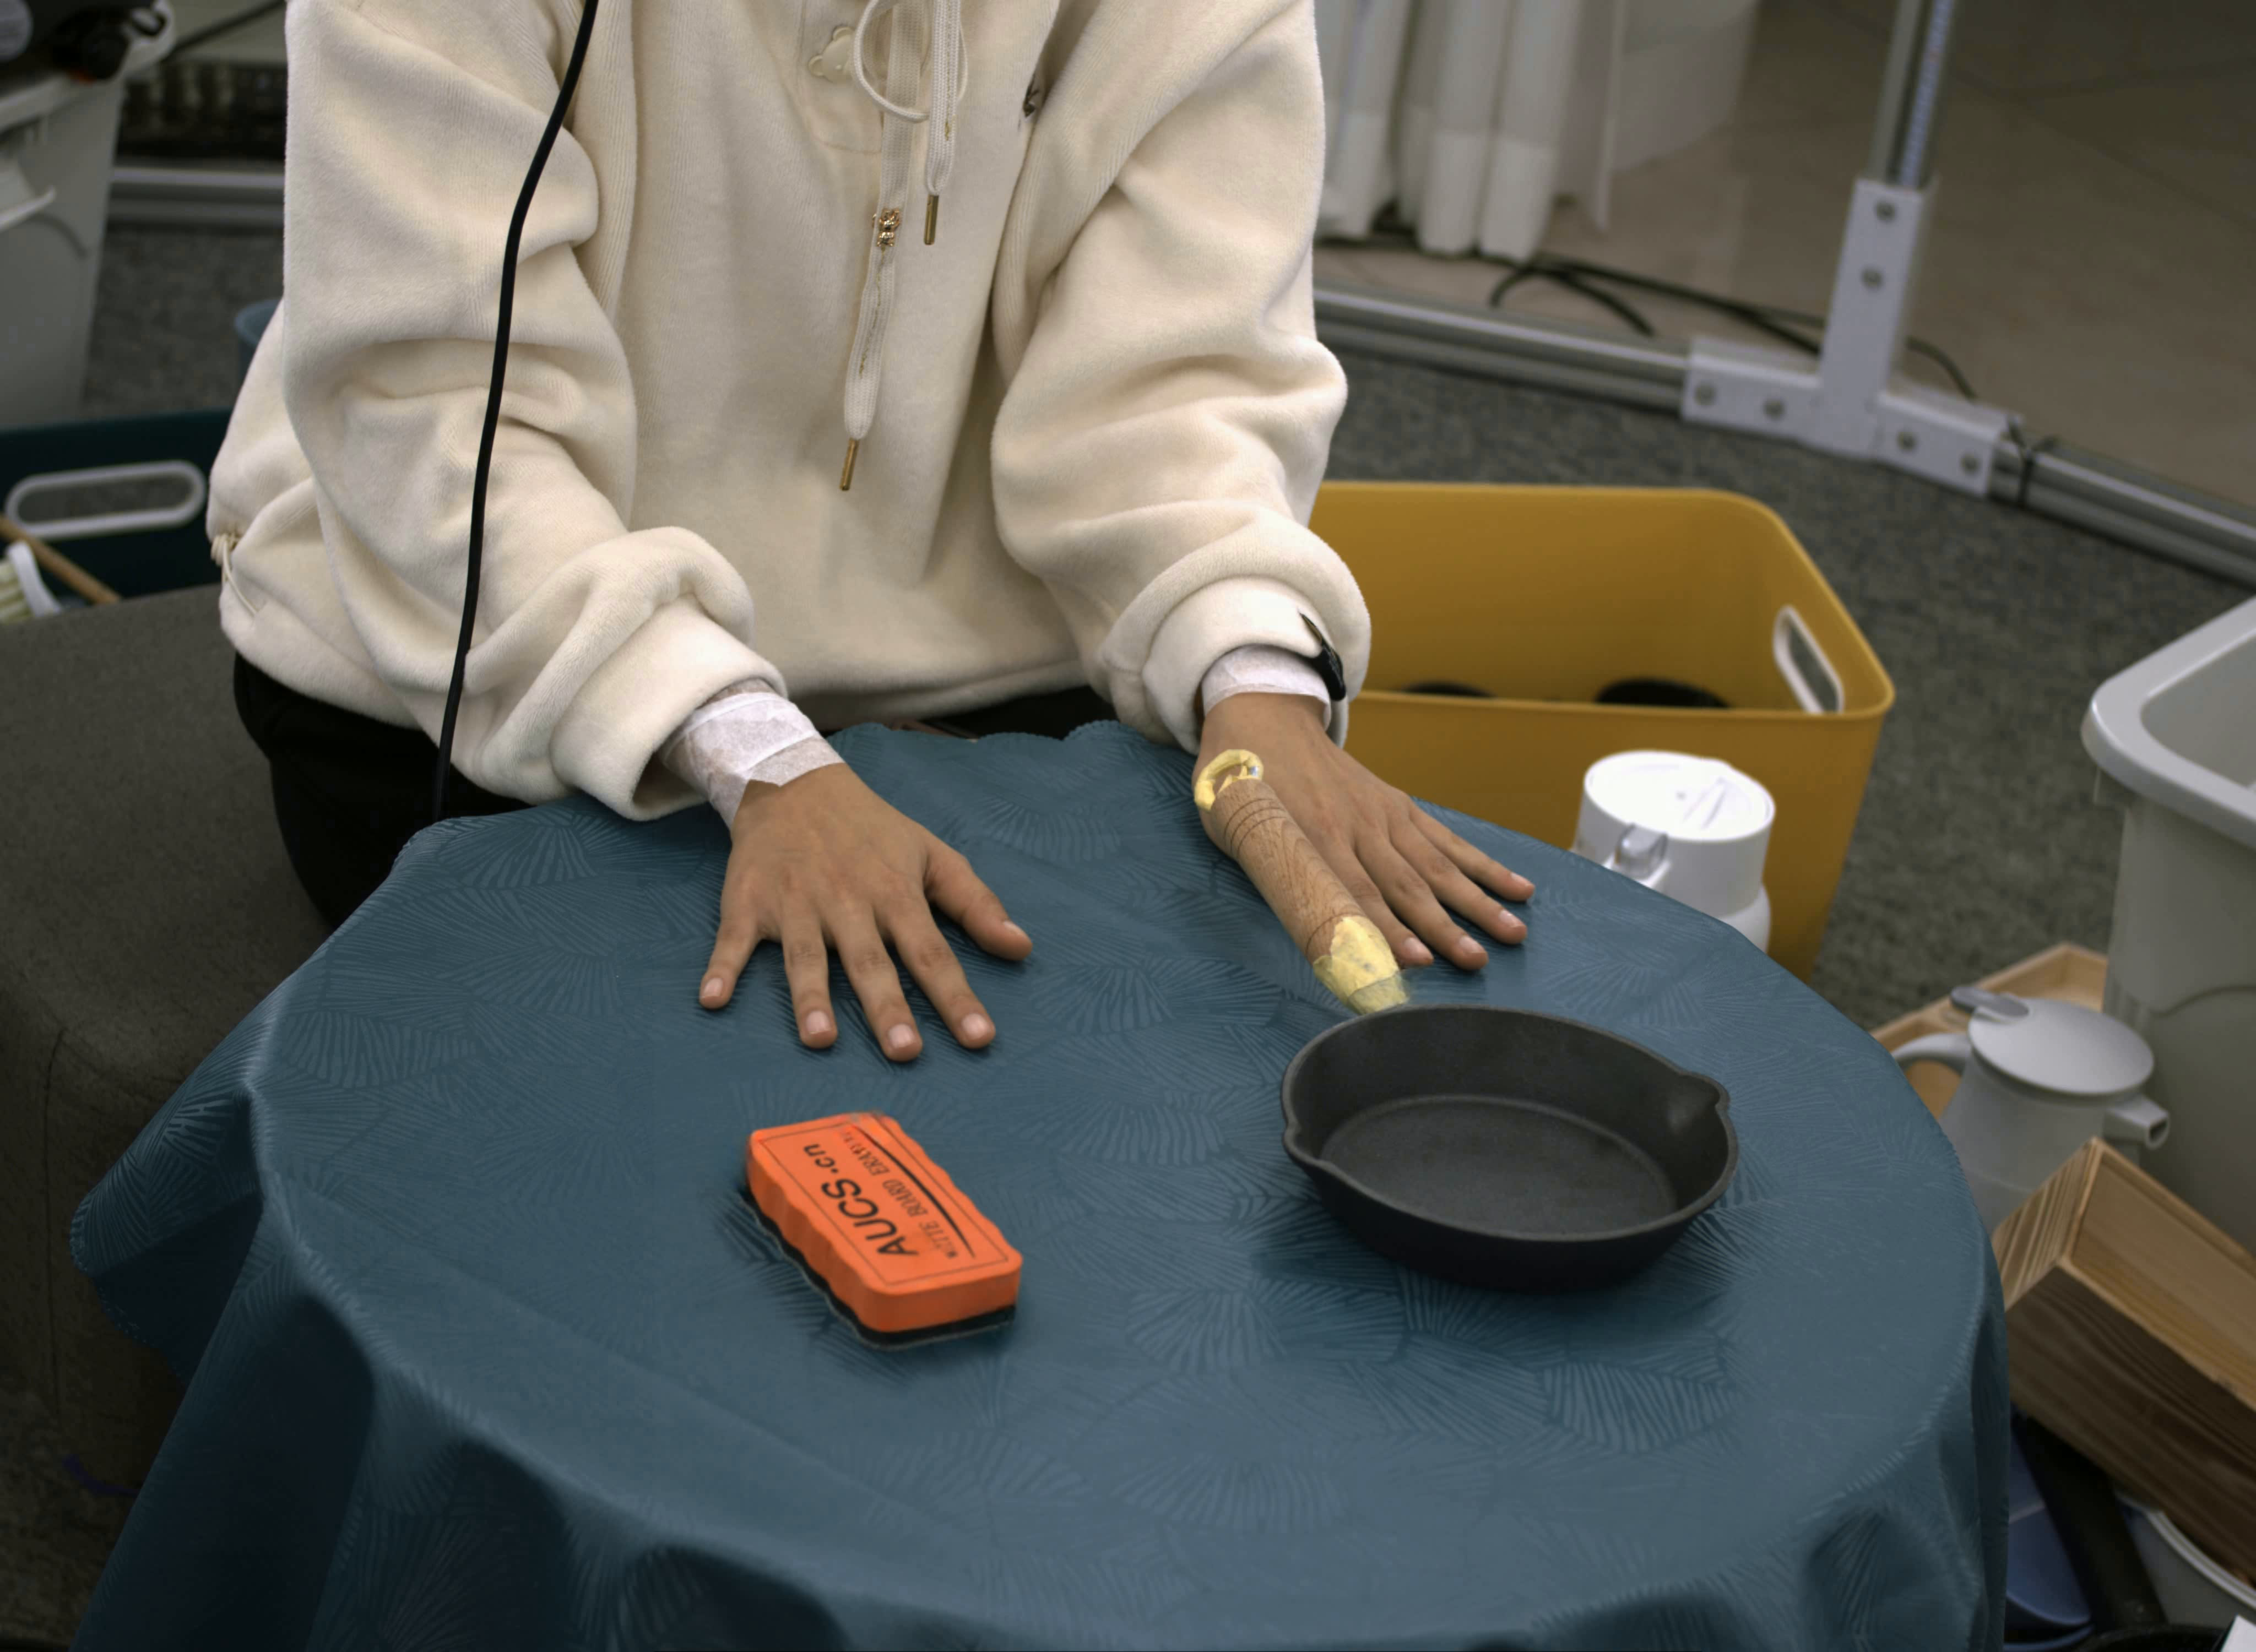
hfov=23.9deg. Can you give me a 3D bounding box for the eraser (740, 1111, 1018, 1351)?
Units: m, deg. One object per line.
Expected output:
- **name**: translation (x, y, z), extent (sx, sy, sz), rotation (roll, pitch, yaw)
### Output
- **eraser**: translation (-0.082, 0.132, 1.742), extent (0.058, 0.023, 0.109), rotation (-9, 31, -27)

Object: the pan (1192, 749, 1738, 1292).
- **pan**: translation (0.096, 0.066, 1.880), extent (0.168, 0.049, 0.327), rotation (-6, 31, -22)
